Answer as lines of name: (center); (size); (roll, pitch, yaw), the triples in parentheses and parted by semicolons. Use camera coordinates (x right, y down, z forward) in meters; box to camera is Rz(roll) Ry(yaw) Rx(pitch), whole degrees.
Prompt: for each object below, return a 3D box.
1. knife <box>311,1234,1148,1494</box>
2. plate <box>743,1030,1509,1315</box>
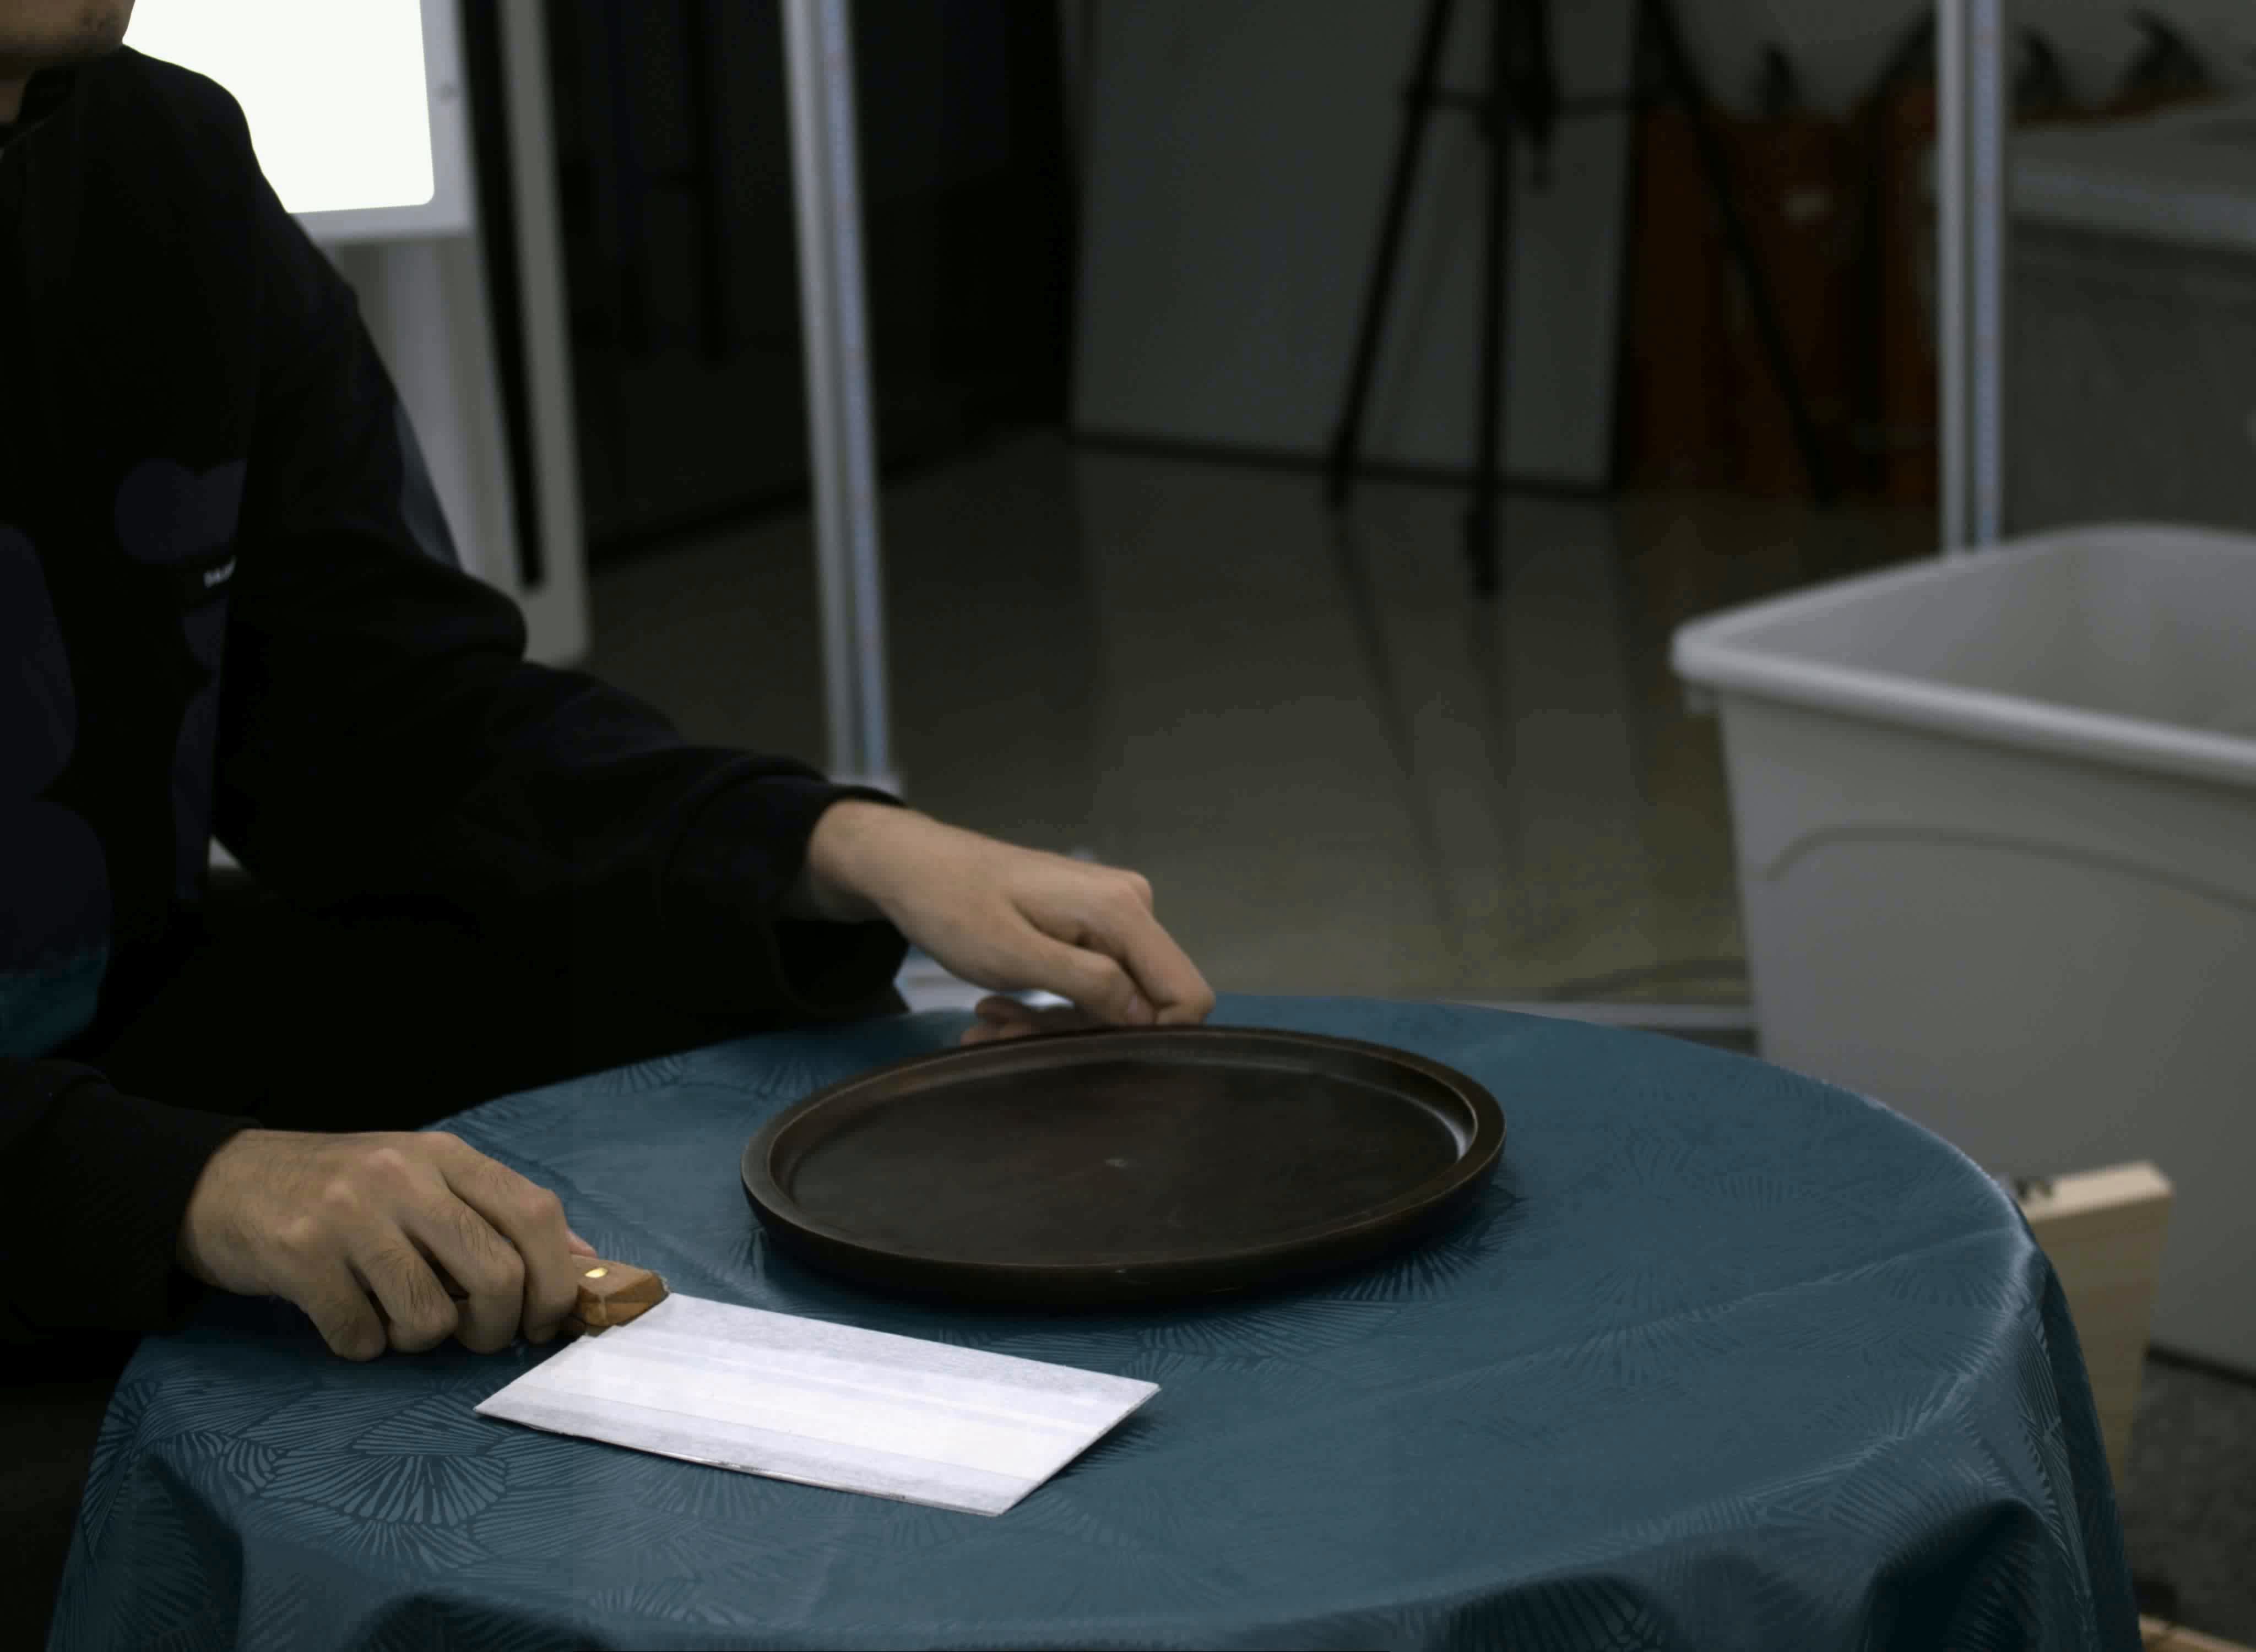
knife: (-0.138, 0.163, 1.615); (0.307, 0.021, 0.091); (6, 23, 34)
plate: (0.000, 0.111, 1.760); (0.251, 0.029, 0.255); (-3, 13, 0)
